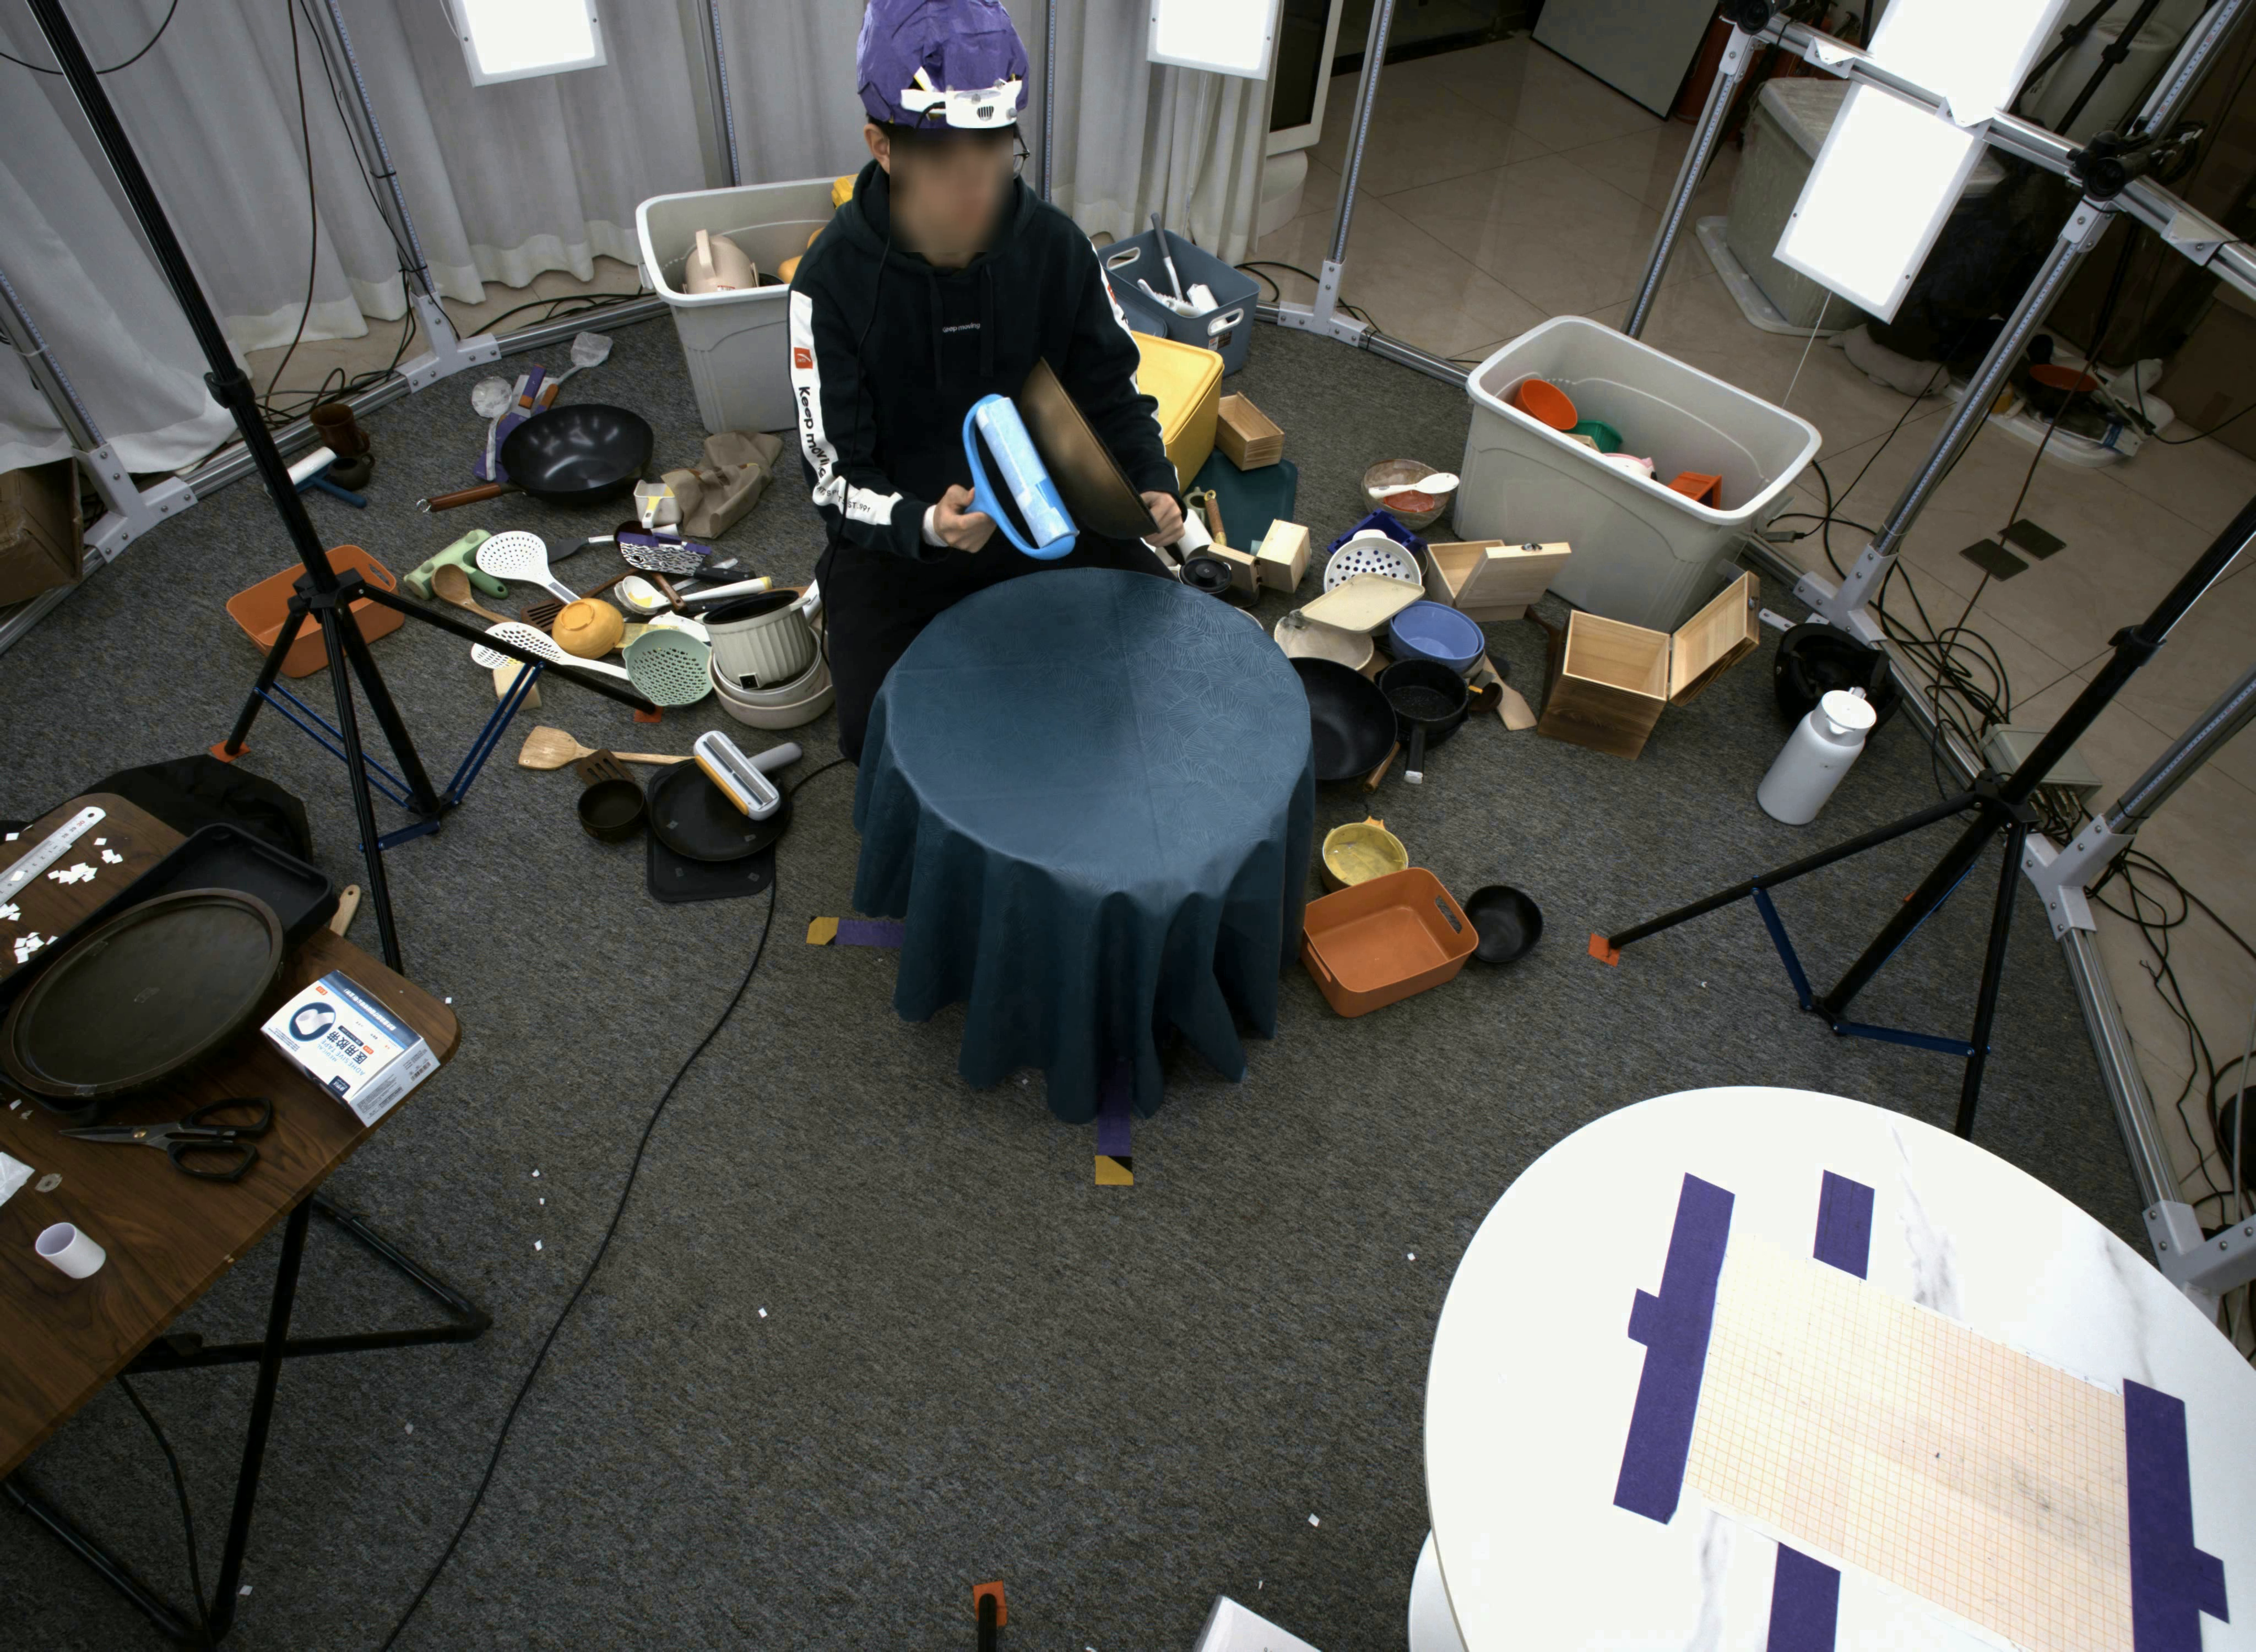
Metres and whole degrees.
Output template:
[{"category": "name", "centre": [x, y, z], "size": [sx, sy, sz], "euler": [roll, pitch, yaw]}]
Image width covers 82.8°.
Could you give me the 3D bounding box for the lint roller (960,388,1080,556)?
[{"category": "lint roller", "centre": [-0.170, -0.428, 1.685], "size": [0.068, 0.178, 0.229], "euler": [-27, 86, -52]}]

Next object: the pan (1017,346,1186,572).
[{"category": "pan", "centre": [-0.033, -0.466, 1.816], "size": [0.086, 0.455, 0.294], "euler": [-33, 61, 9]}]
